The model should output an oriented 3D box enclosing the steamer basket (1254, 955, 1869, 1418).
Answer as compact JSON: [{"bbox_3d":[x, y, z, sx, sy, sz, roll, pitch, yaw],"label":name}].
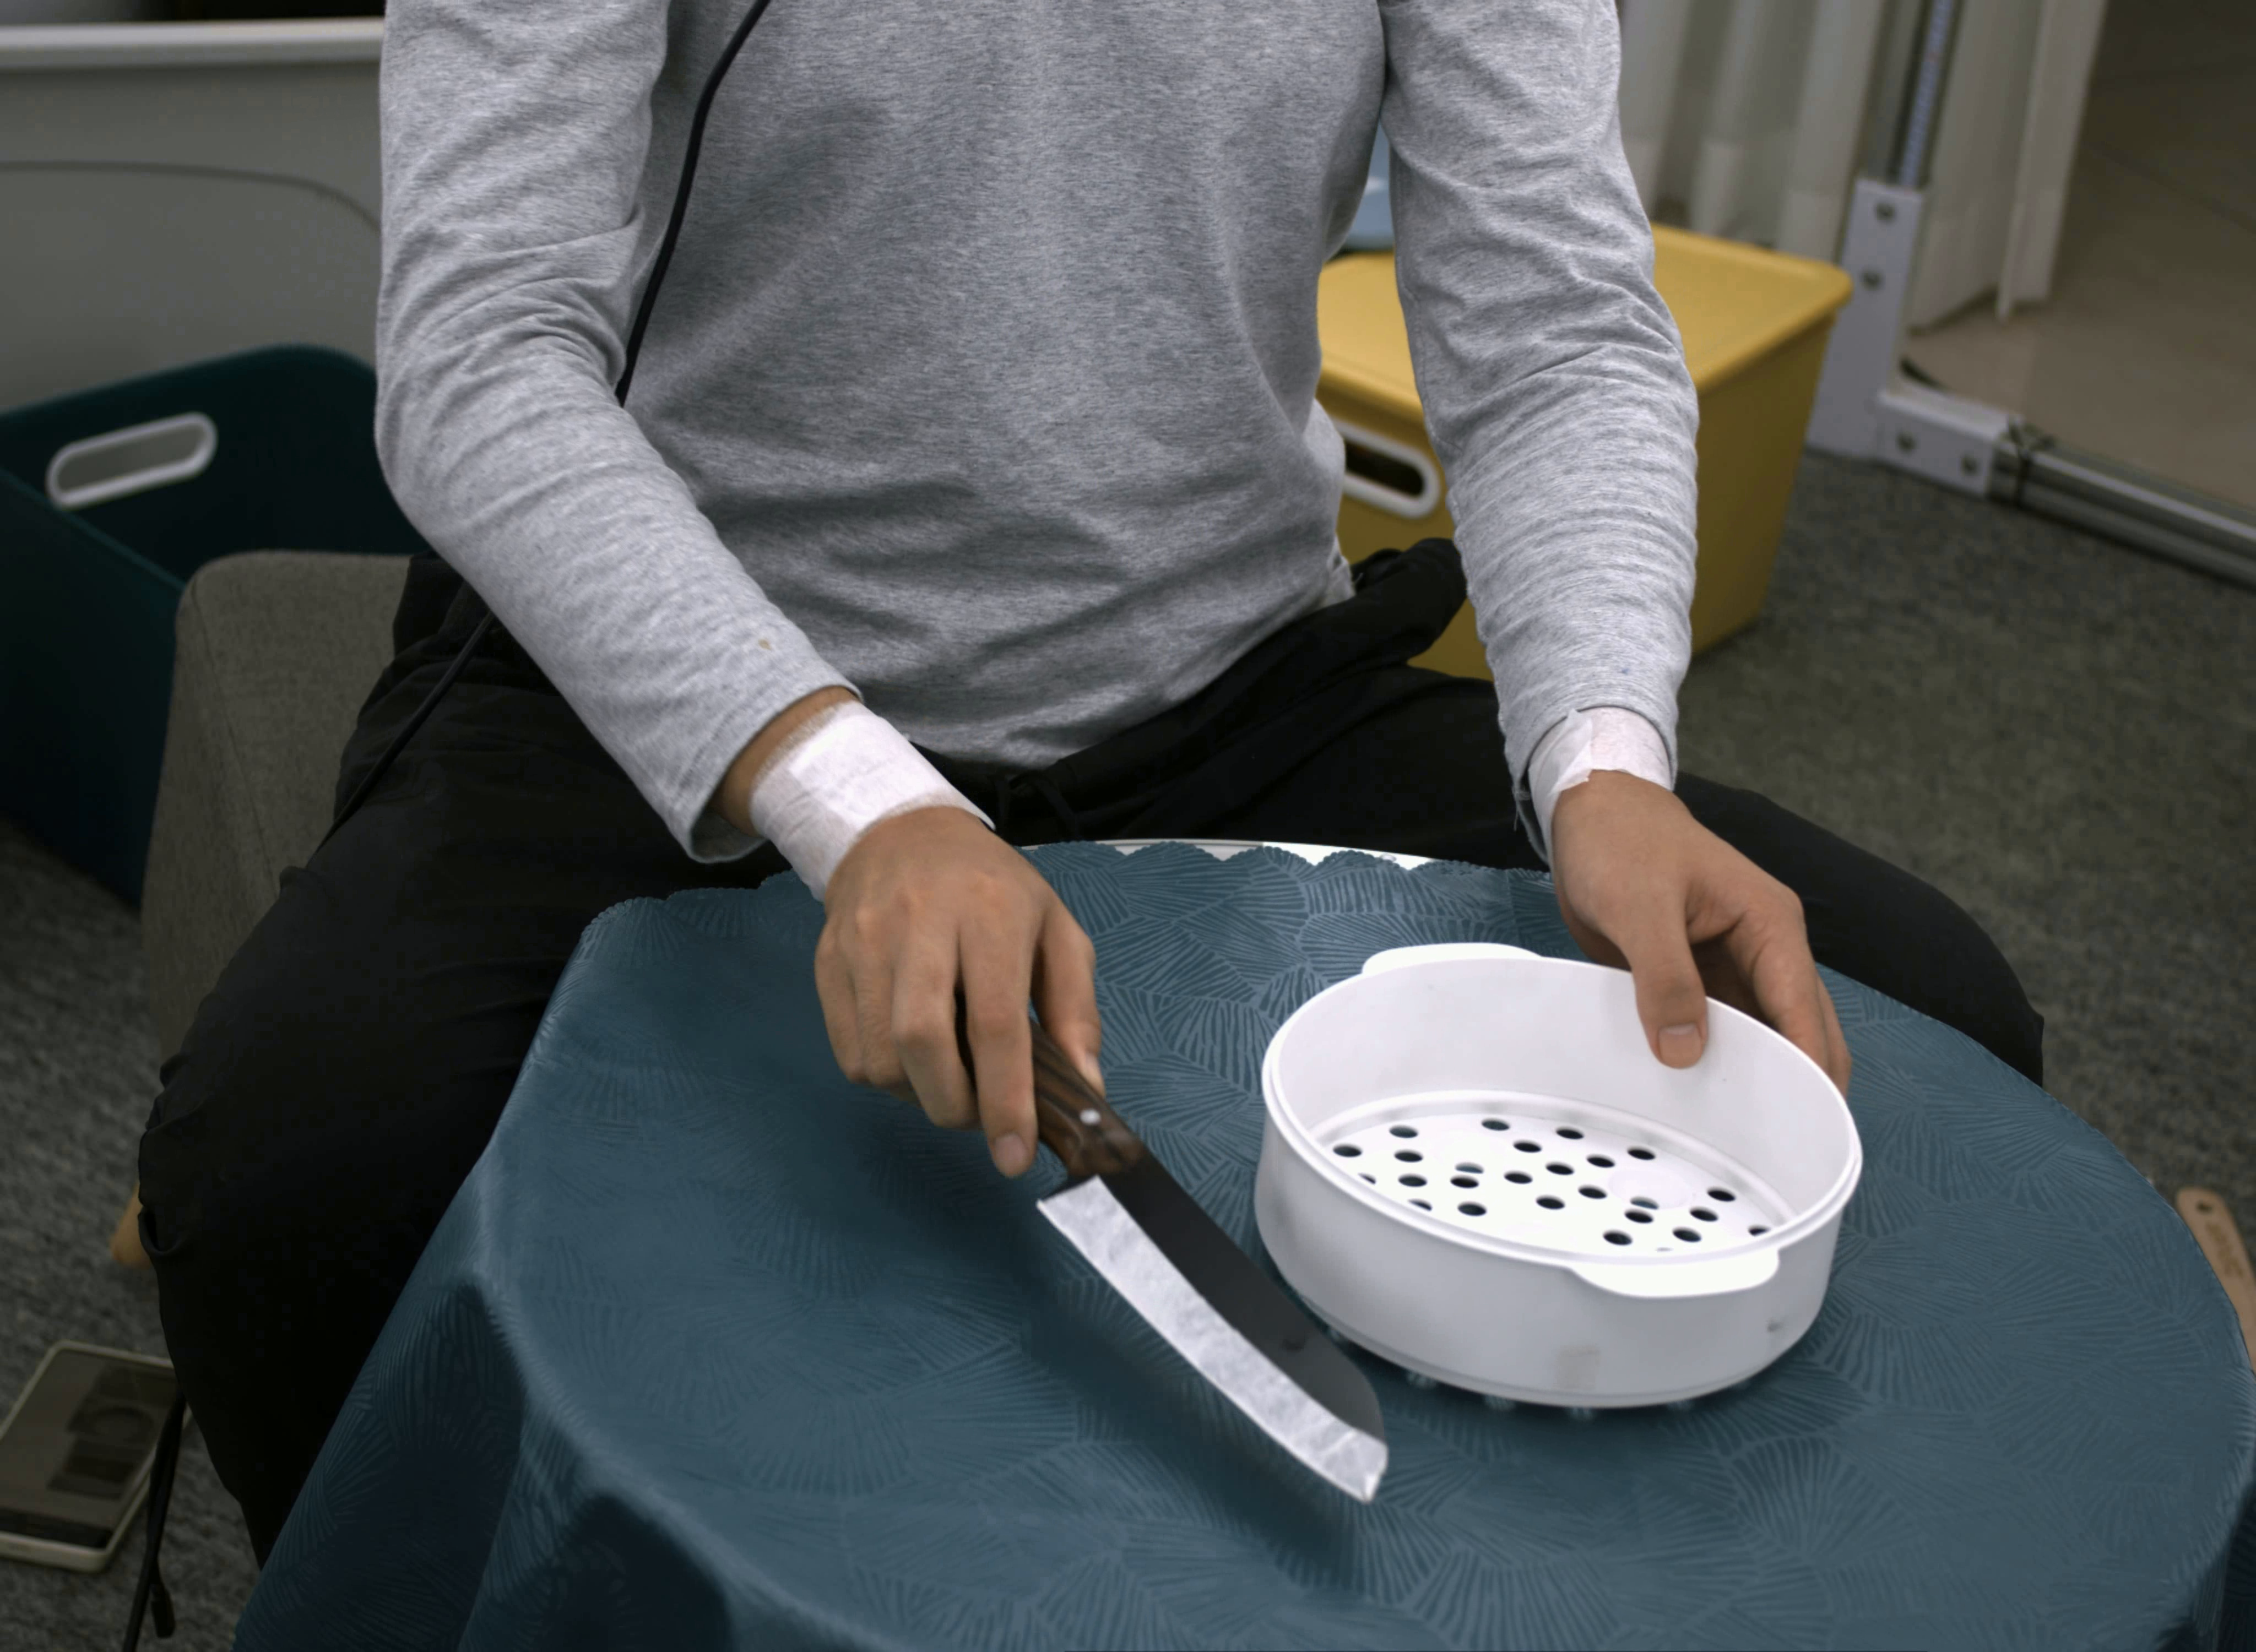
[{"bbox_3d":[0.142,0.121,1.769,0.200,0.069,0.232,-2,27,-19],"label":"steamer basket"}]

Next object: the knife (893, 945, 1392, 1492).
[{"bbox_3d":[0.002,0.124,1.706,0.050,0.020,0.292,-22,43,-22],"label":"knife"}]
